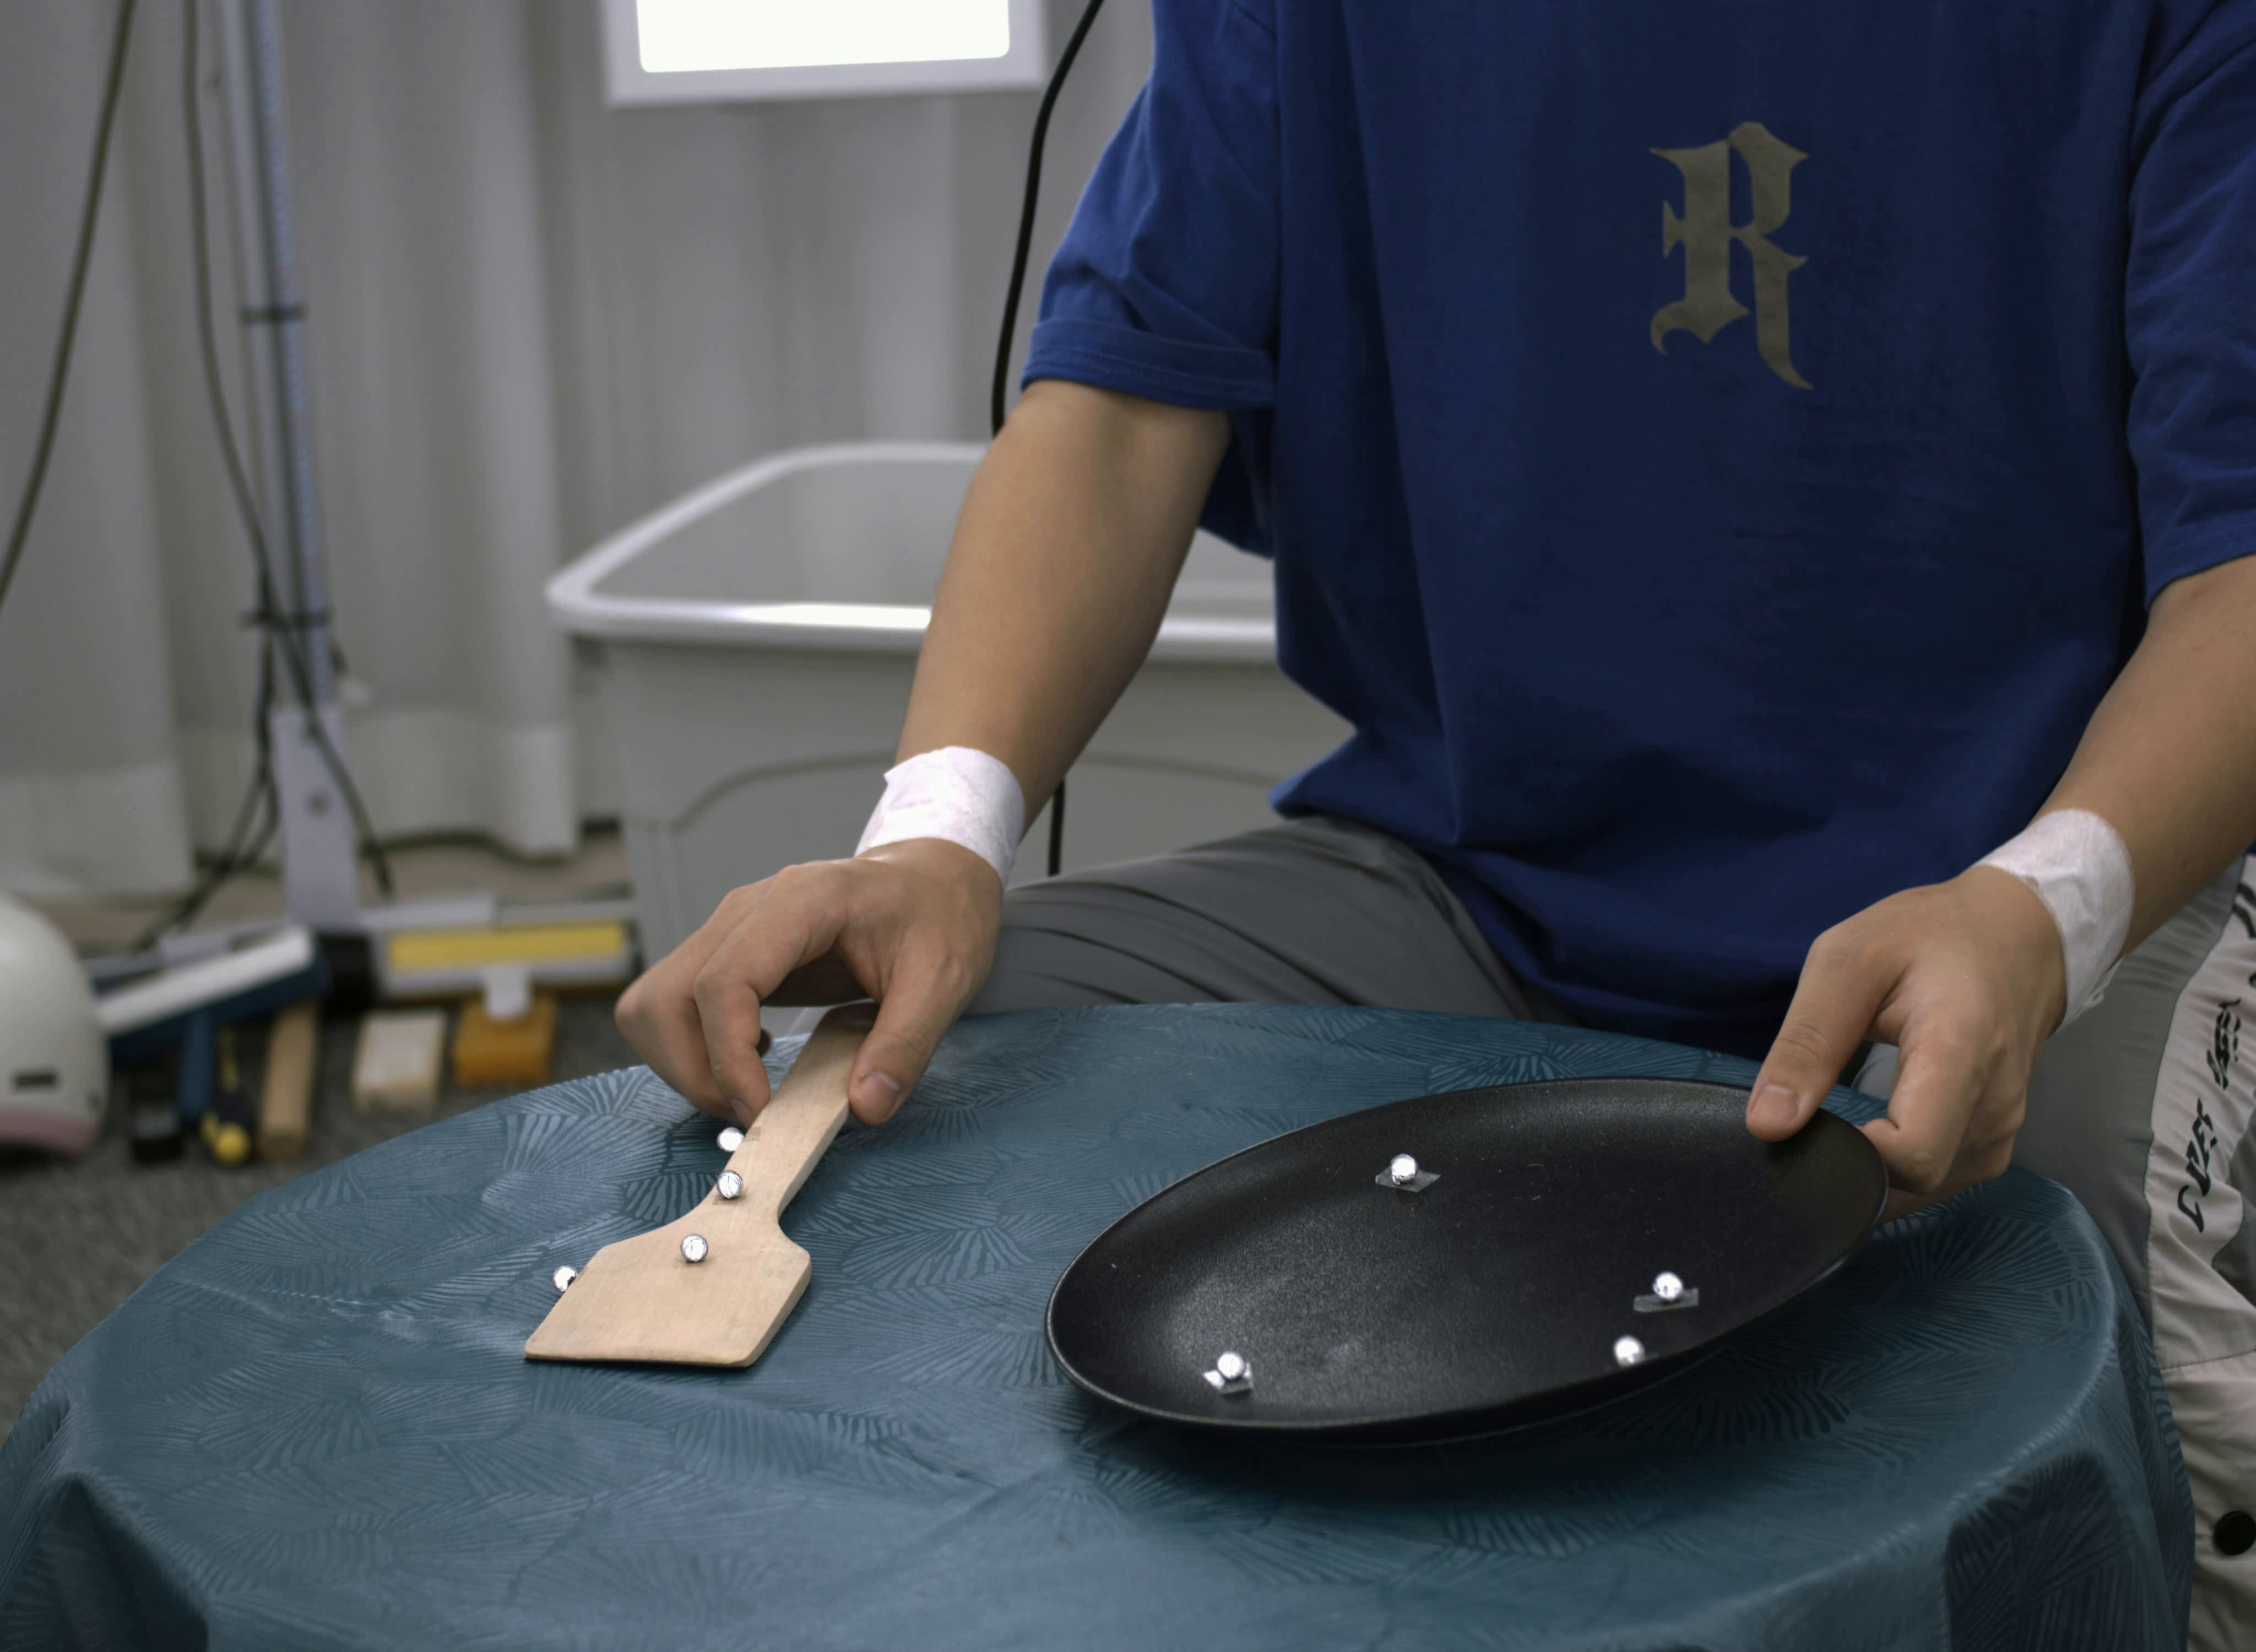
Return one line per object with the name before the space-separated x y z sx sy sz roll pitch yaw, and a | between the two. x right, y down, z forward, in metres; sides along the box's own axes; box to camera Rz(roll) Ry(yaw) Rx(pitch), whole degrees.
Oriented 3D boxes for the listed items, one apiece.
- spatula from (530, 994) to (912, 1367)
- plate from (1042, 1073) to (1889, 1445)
spatula | -0.114 0.108 1.713 0.072 0.010 0.295 0 19 12
plate | 0.096 0.126 1.549 0.243 0.023 0.246 -11 17 3
